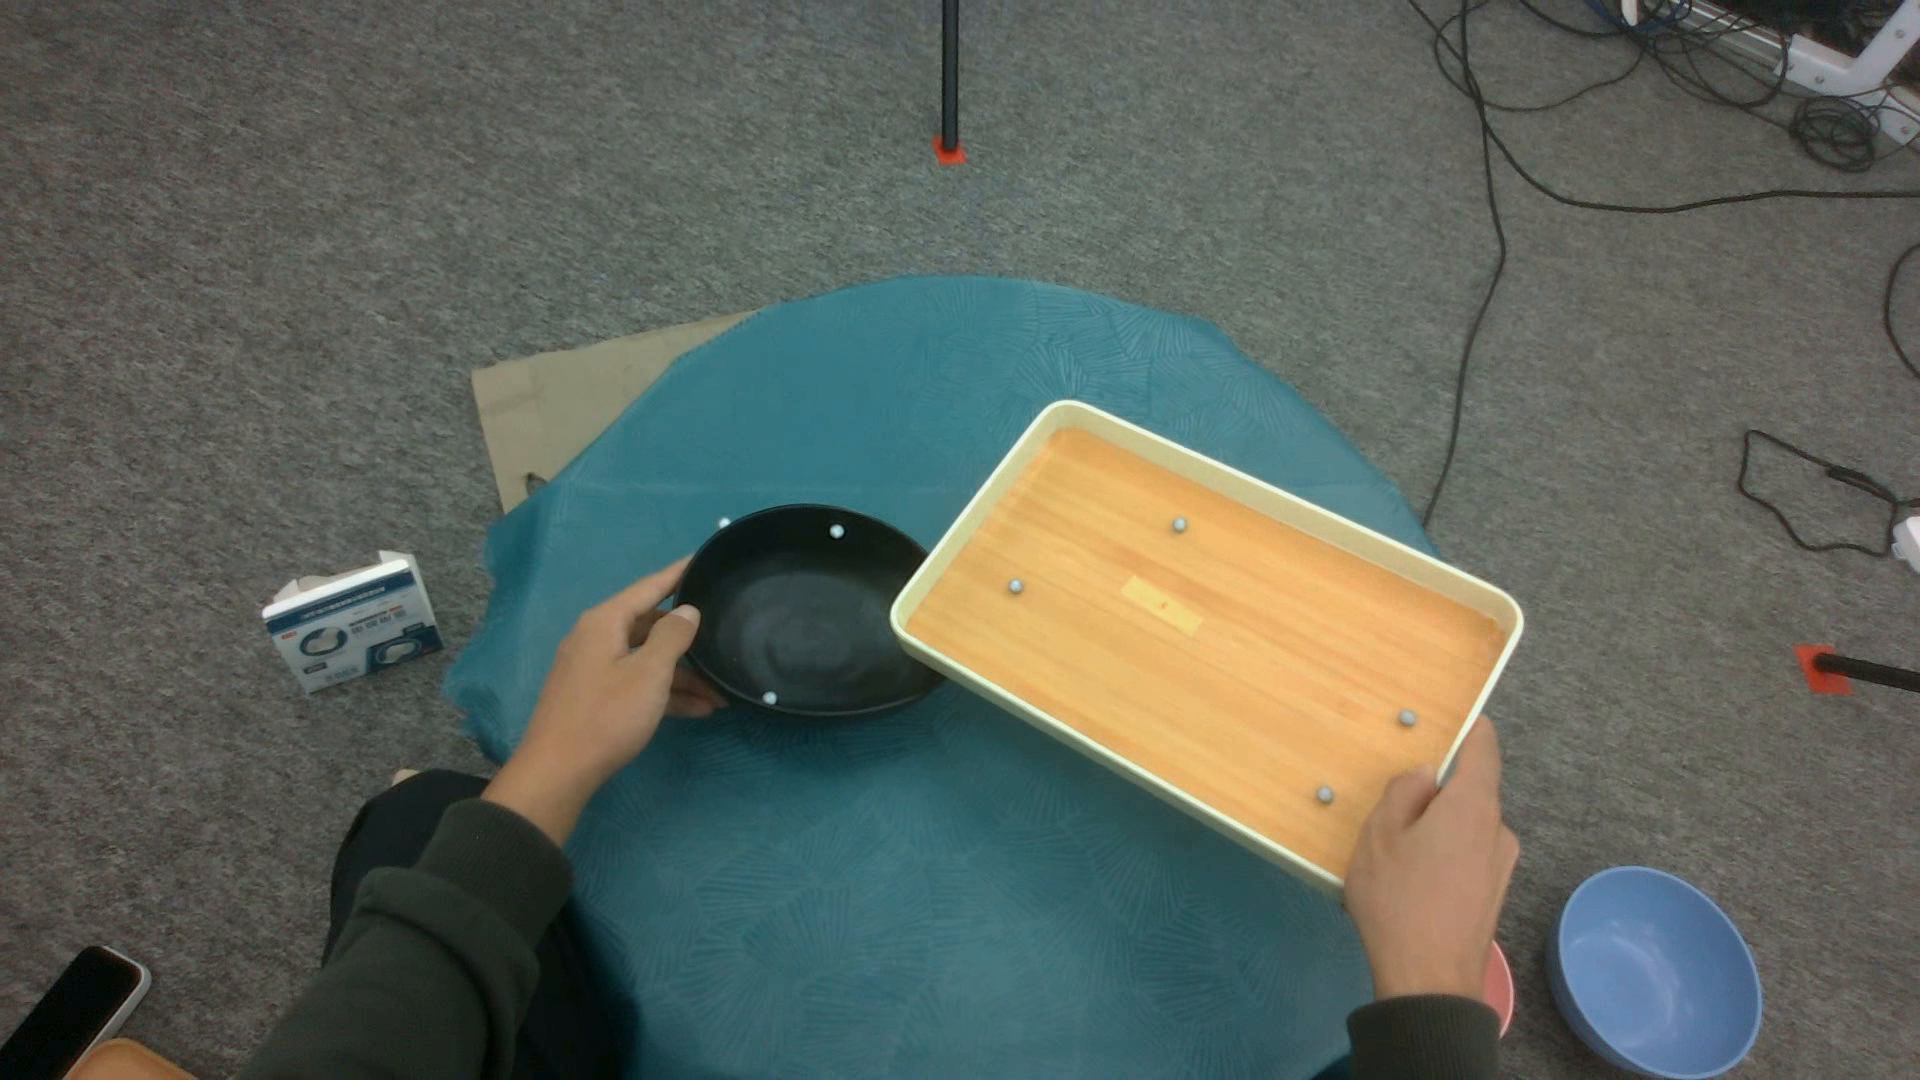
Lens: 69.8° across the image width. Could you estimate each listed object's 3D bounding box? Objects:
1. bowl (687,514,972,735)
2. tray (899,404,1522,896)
[{"bbox_3d":[-0.077,0.058,0.814,0.170,0.066,0.138,3,59,-14],"label":"bowl"},{"bbox_3d":[0.134,0.048,0.770,0.300,0.027,0.192,26,66,24],"label":"tray"}]
